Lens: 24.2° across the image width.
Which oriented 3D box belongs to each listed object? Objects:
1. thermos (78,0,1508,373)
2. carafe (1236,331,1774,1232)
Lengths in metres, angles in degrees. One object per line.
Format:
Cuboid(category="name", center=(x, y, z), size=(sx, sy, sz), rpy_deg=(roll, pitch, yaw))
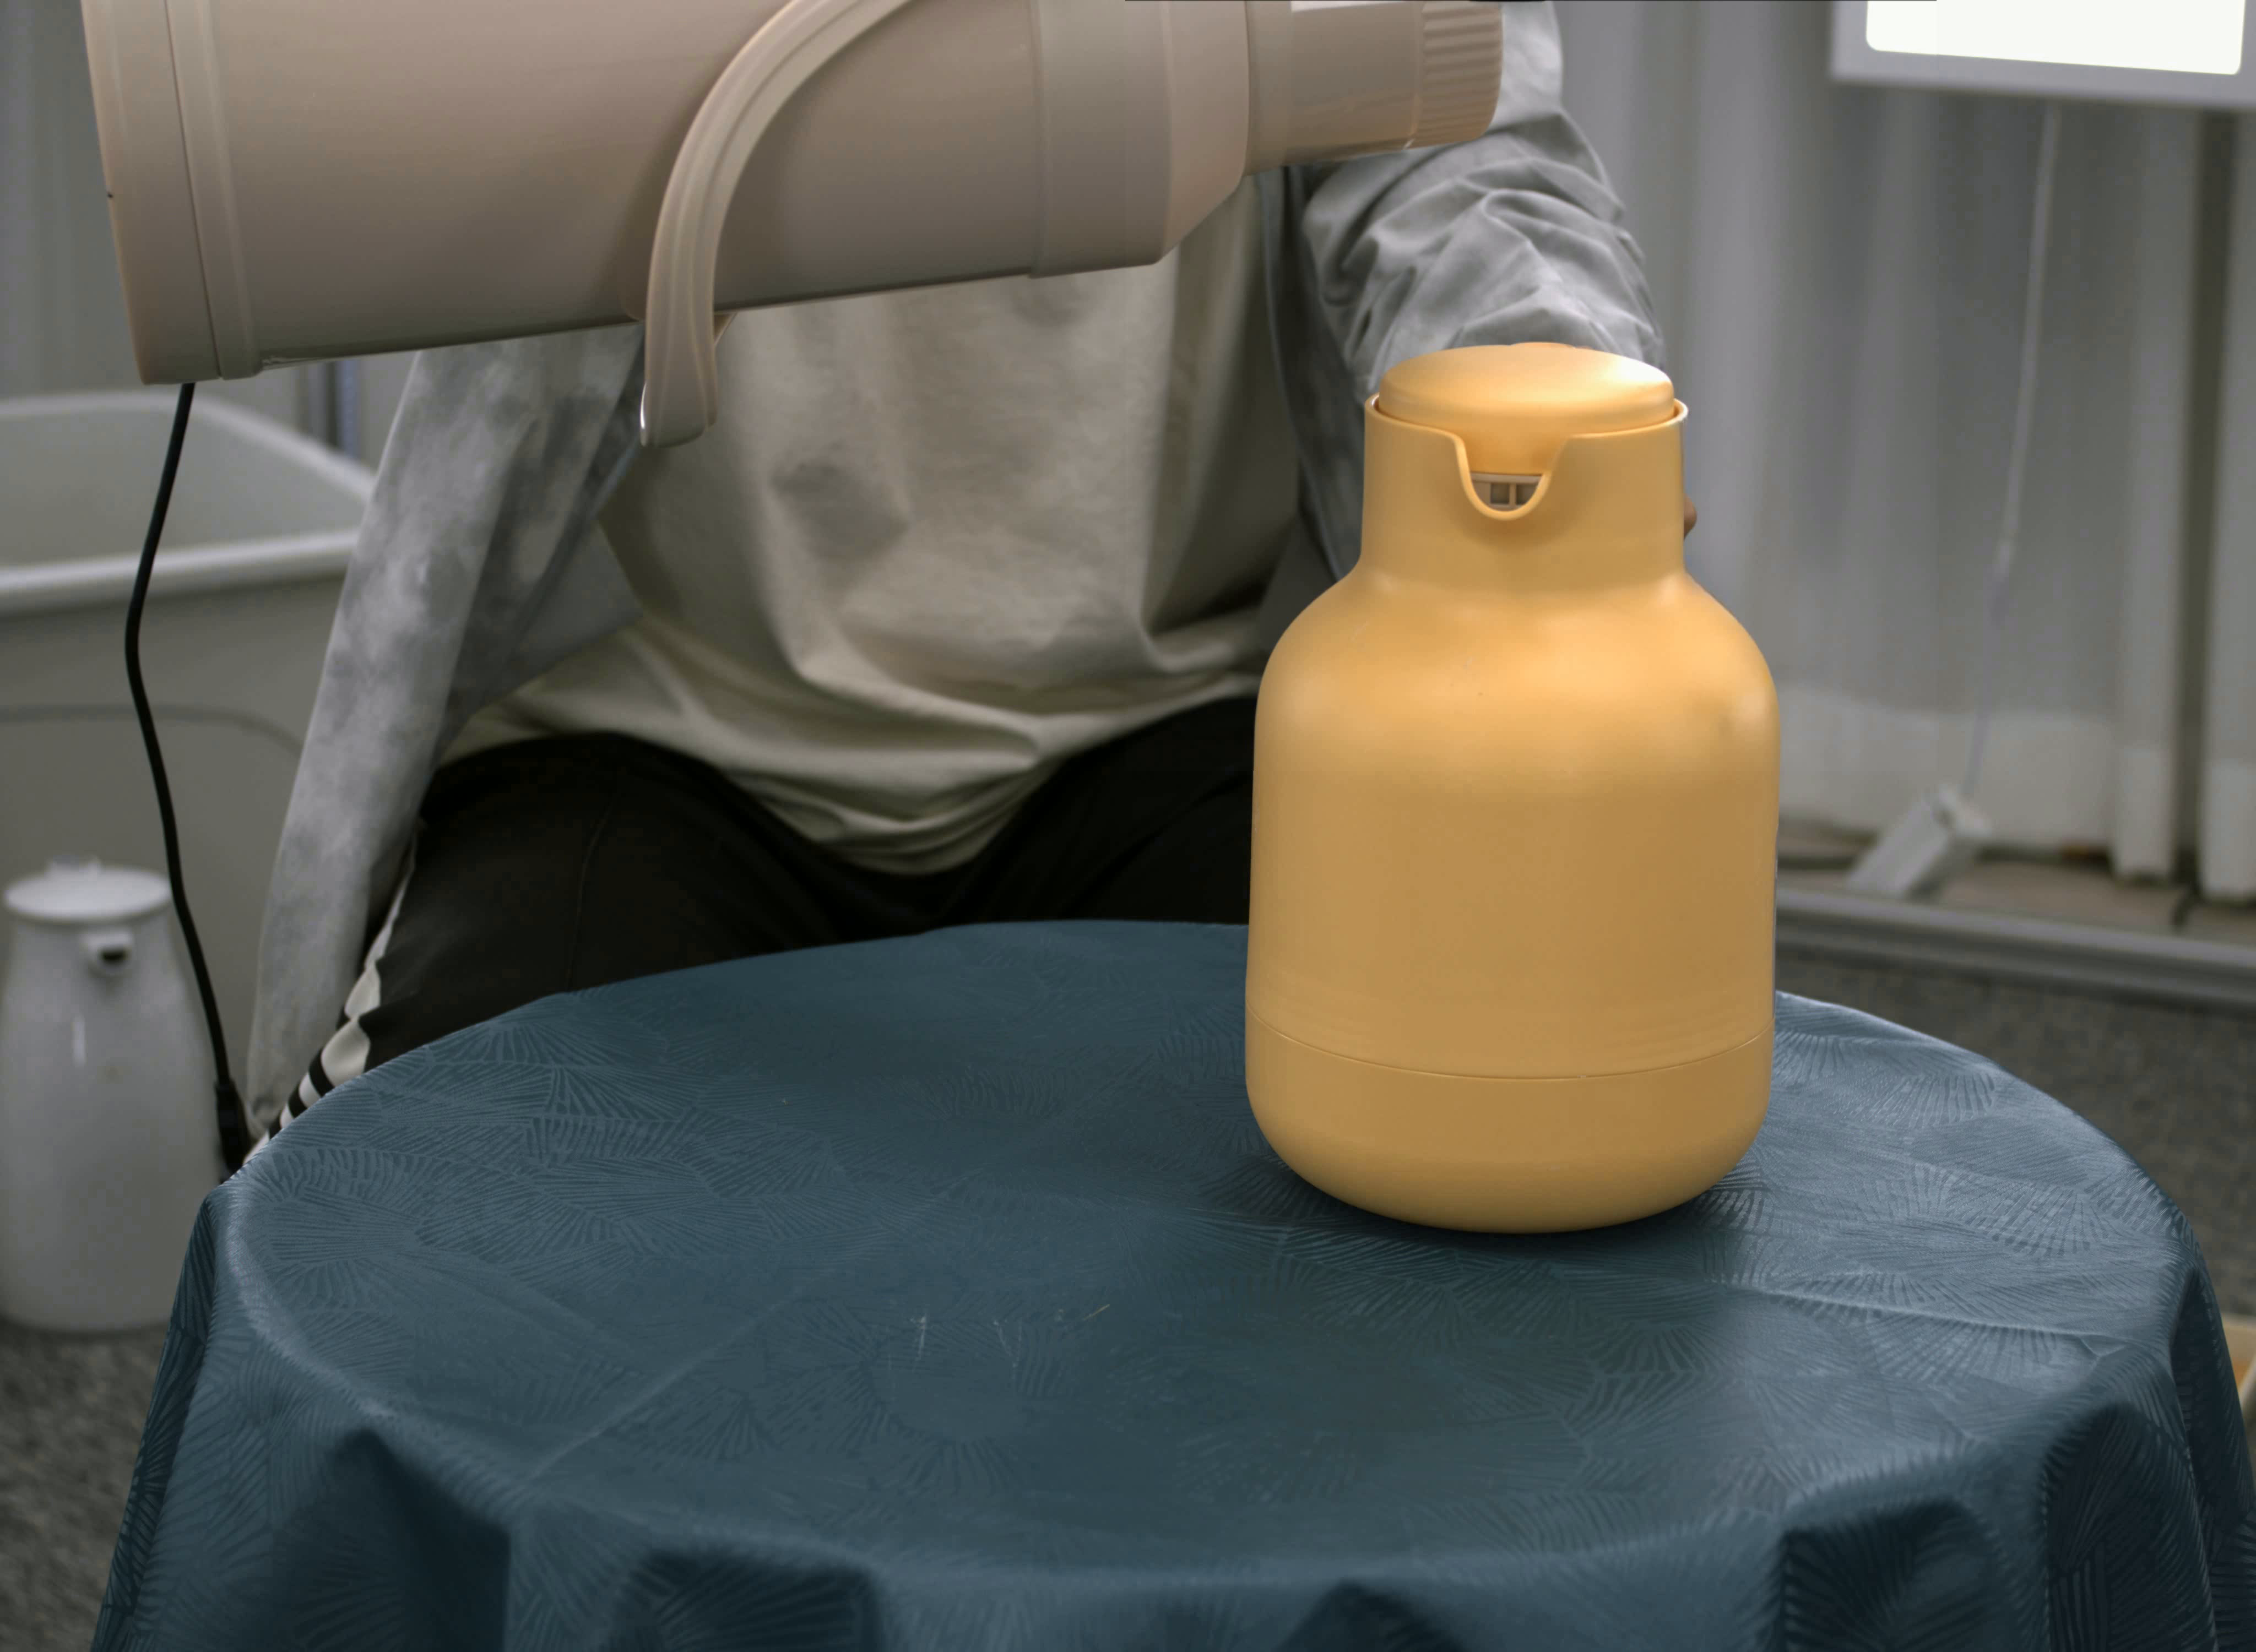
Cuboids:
Cuboid(category="thermos", center=(-0.100, -0.245, 1.524), size=(0.406, 0.206, 0.176), rpy_deg=(-7, -12, -7))
Cuboid(category="carafe", center=(0.121, -0.022, 1.623), size=(0.162, 0.262, 0.202), rpy_deg=(5, 18, 9))
